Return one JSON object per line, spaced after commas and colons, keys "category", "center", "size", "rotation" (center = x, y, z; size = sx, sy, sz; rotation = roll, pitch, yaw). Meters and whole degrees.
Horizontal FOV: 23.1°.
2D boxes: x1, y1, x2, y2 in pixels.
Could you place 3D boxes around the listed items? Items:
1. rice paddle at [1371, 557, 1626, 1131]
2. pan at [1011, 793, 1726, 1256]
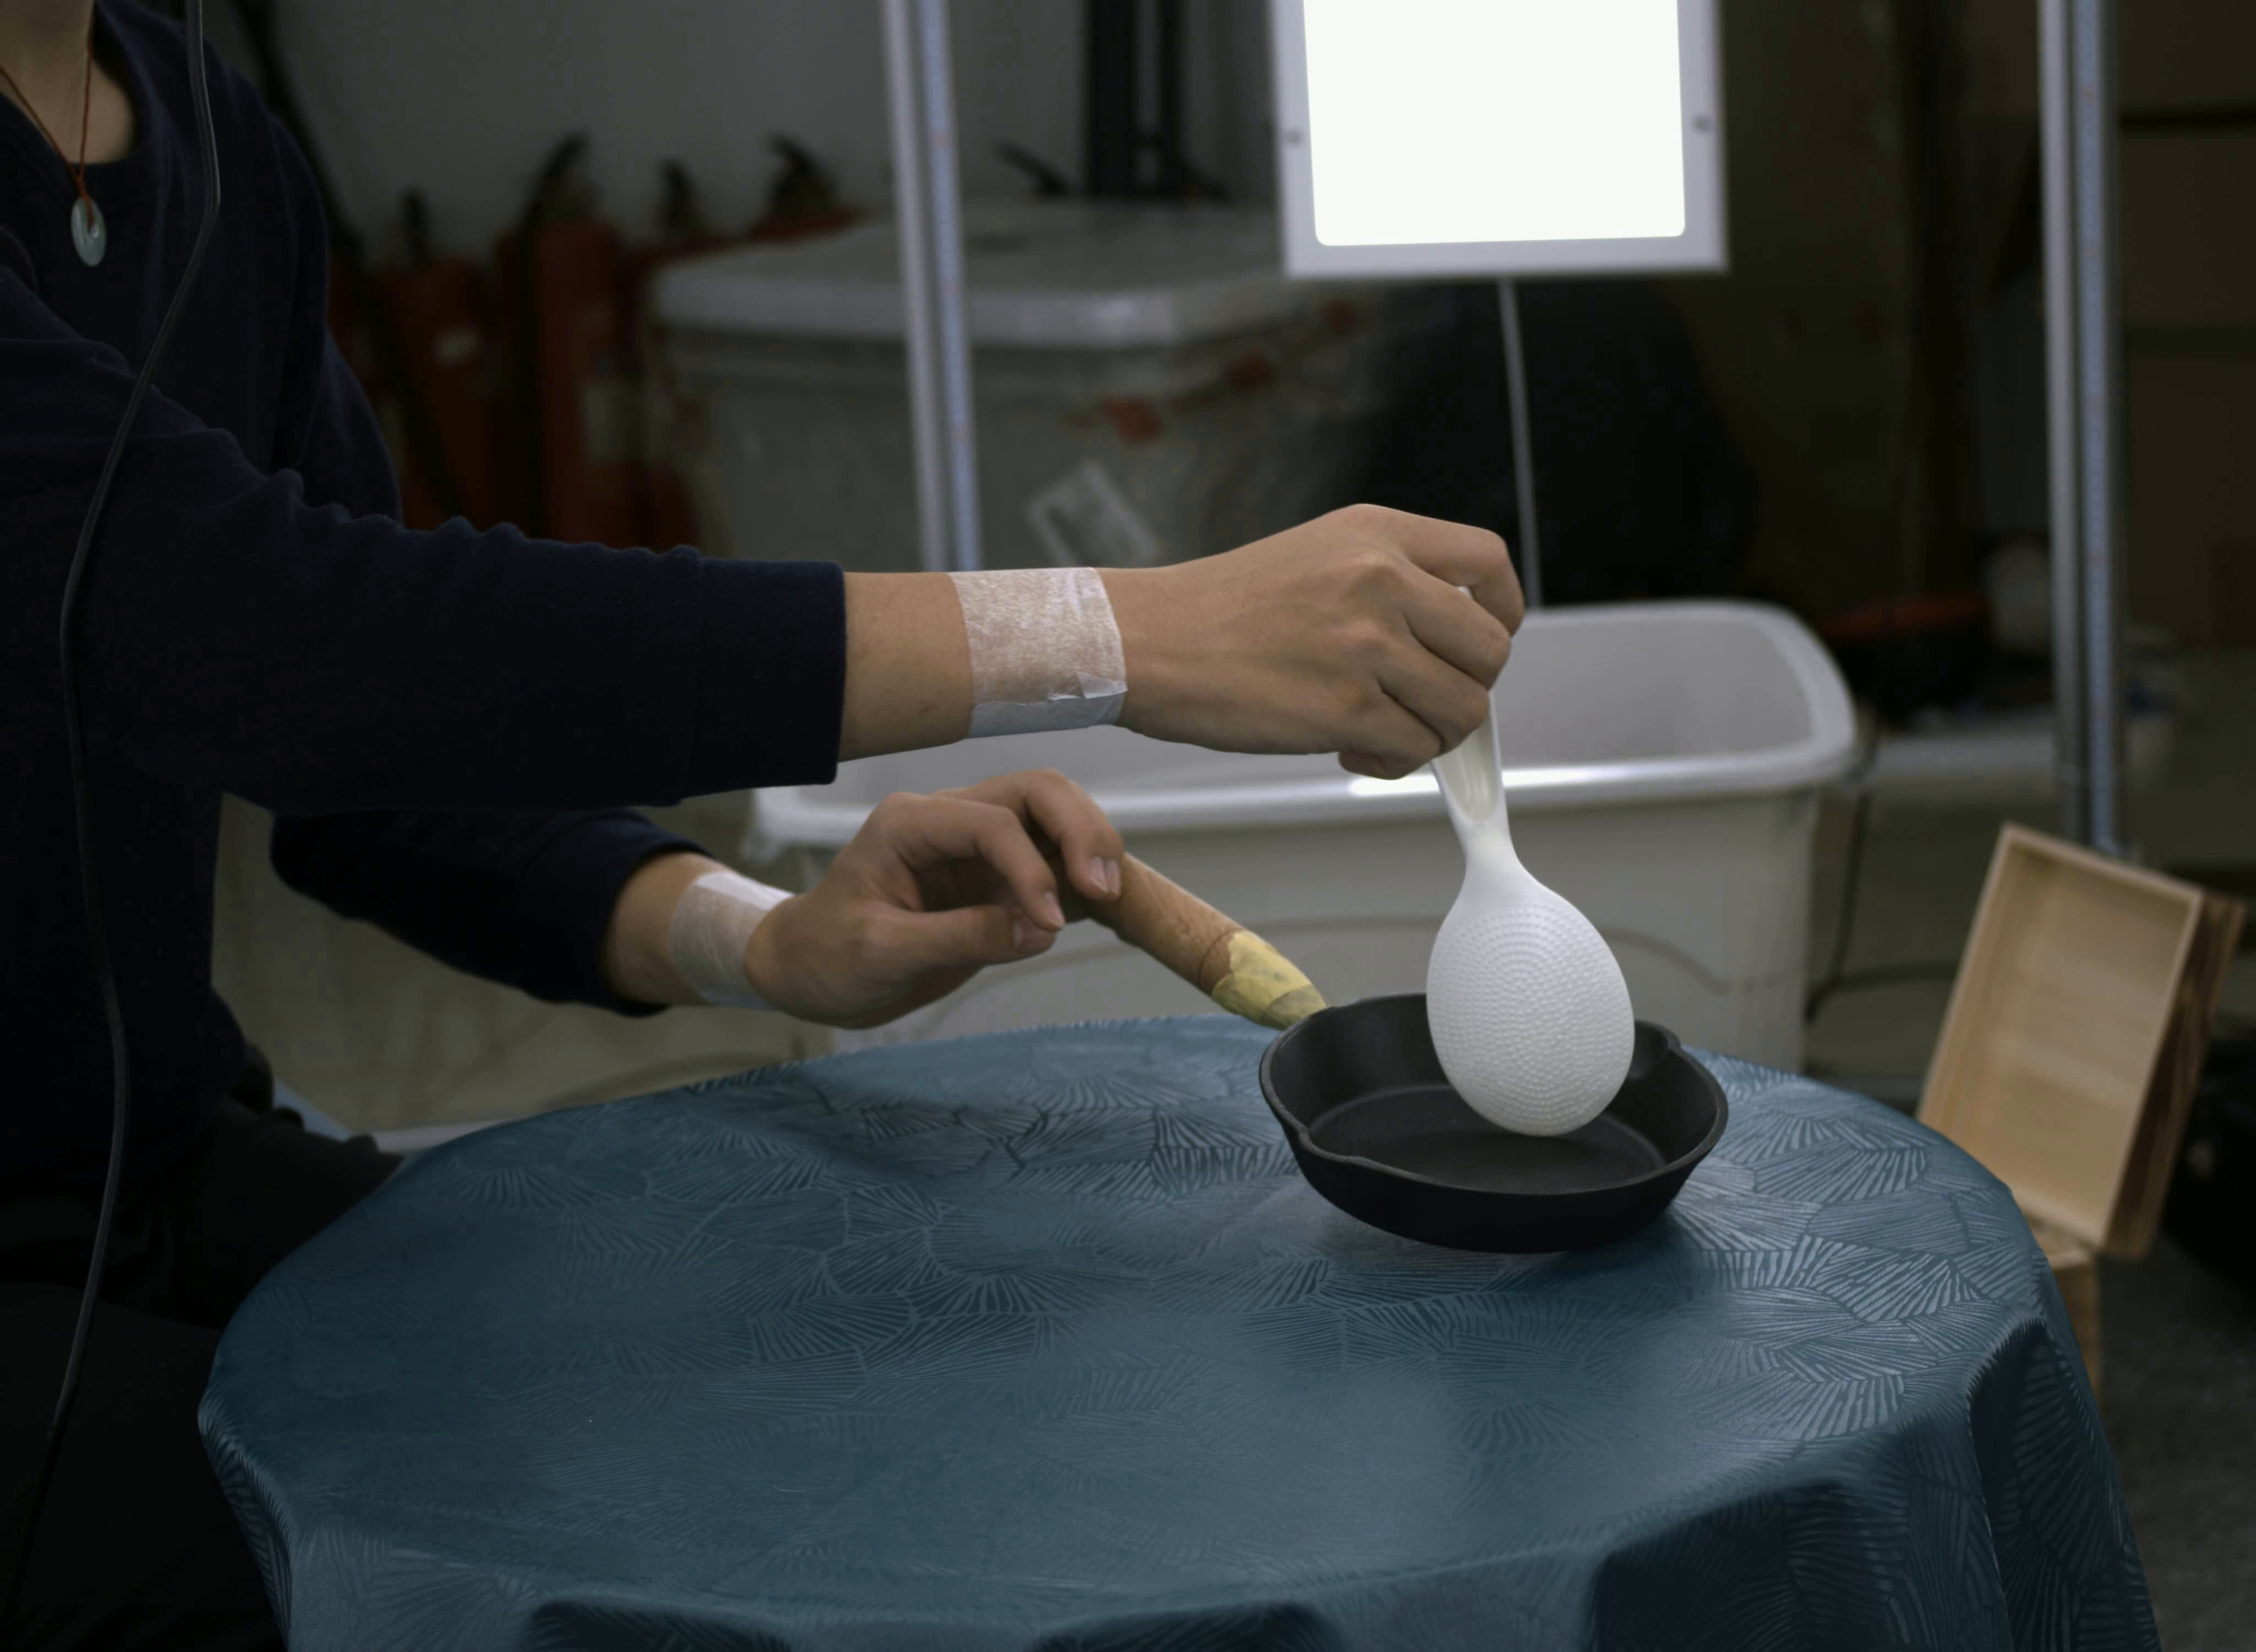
{"category": "rice paddle", "center": [0.119, 0.010, 1.833], "size": [0.069, 0.205, 0.029], "rotation": [-11, 21, 12]}
{"category": "pan", "center": [0.068, 0.065, 1.897], "size": [0.165, 0.050, 0.330], "rotation": [-16, 30, -36]}
